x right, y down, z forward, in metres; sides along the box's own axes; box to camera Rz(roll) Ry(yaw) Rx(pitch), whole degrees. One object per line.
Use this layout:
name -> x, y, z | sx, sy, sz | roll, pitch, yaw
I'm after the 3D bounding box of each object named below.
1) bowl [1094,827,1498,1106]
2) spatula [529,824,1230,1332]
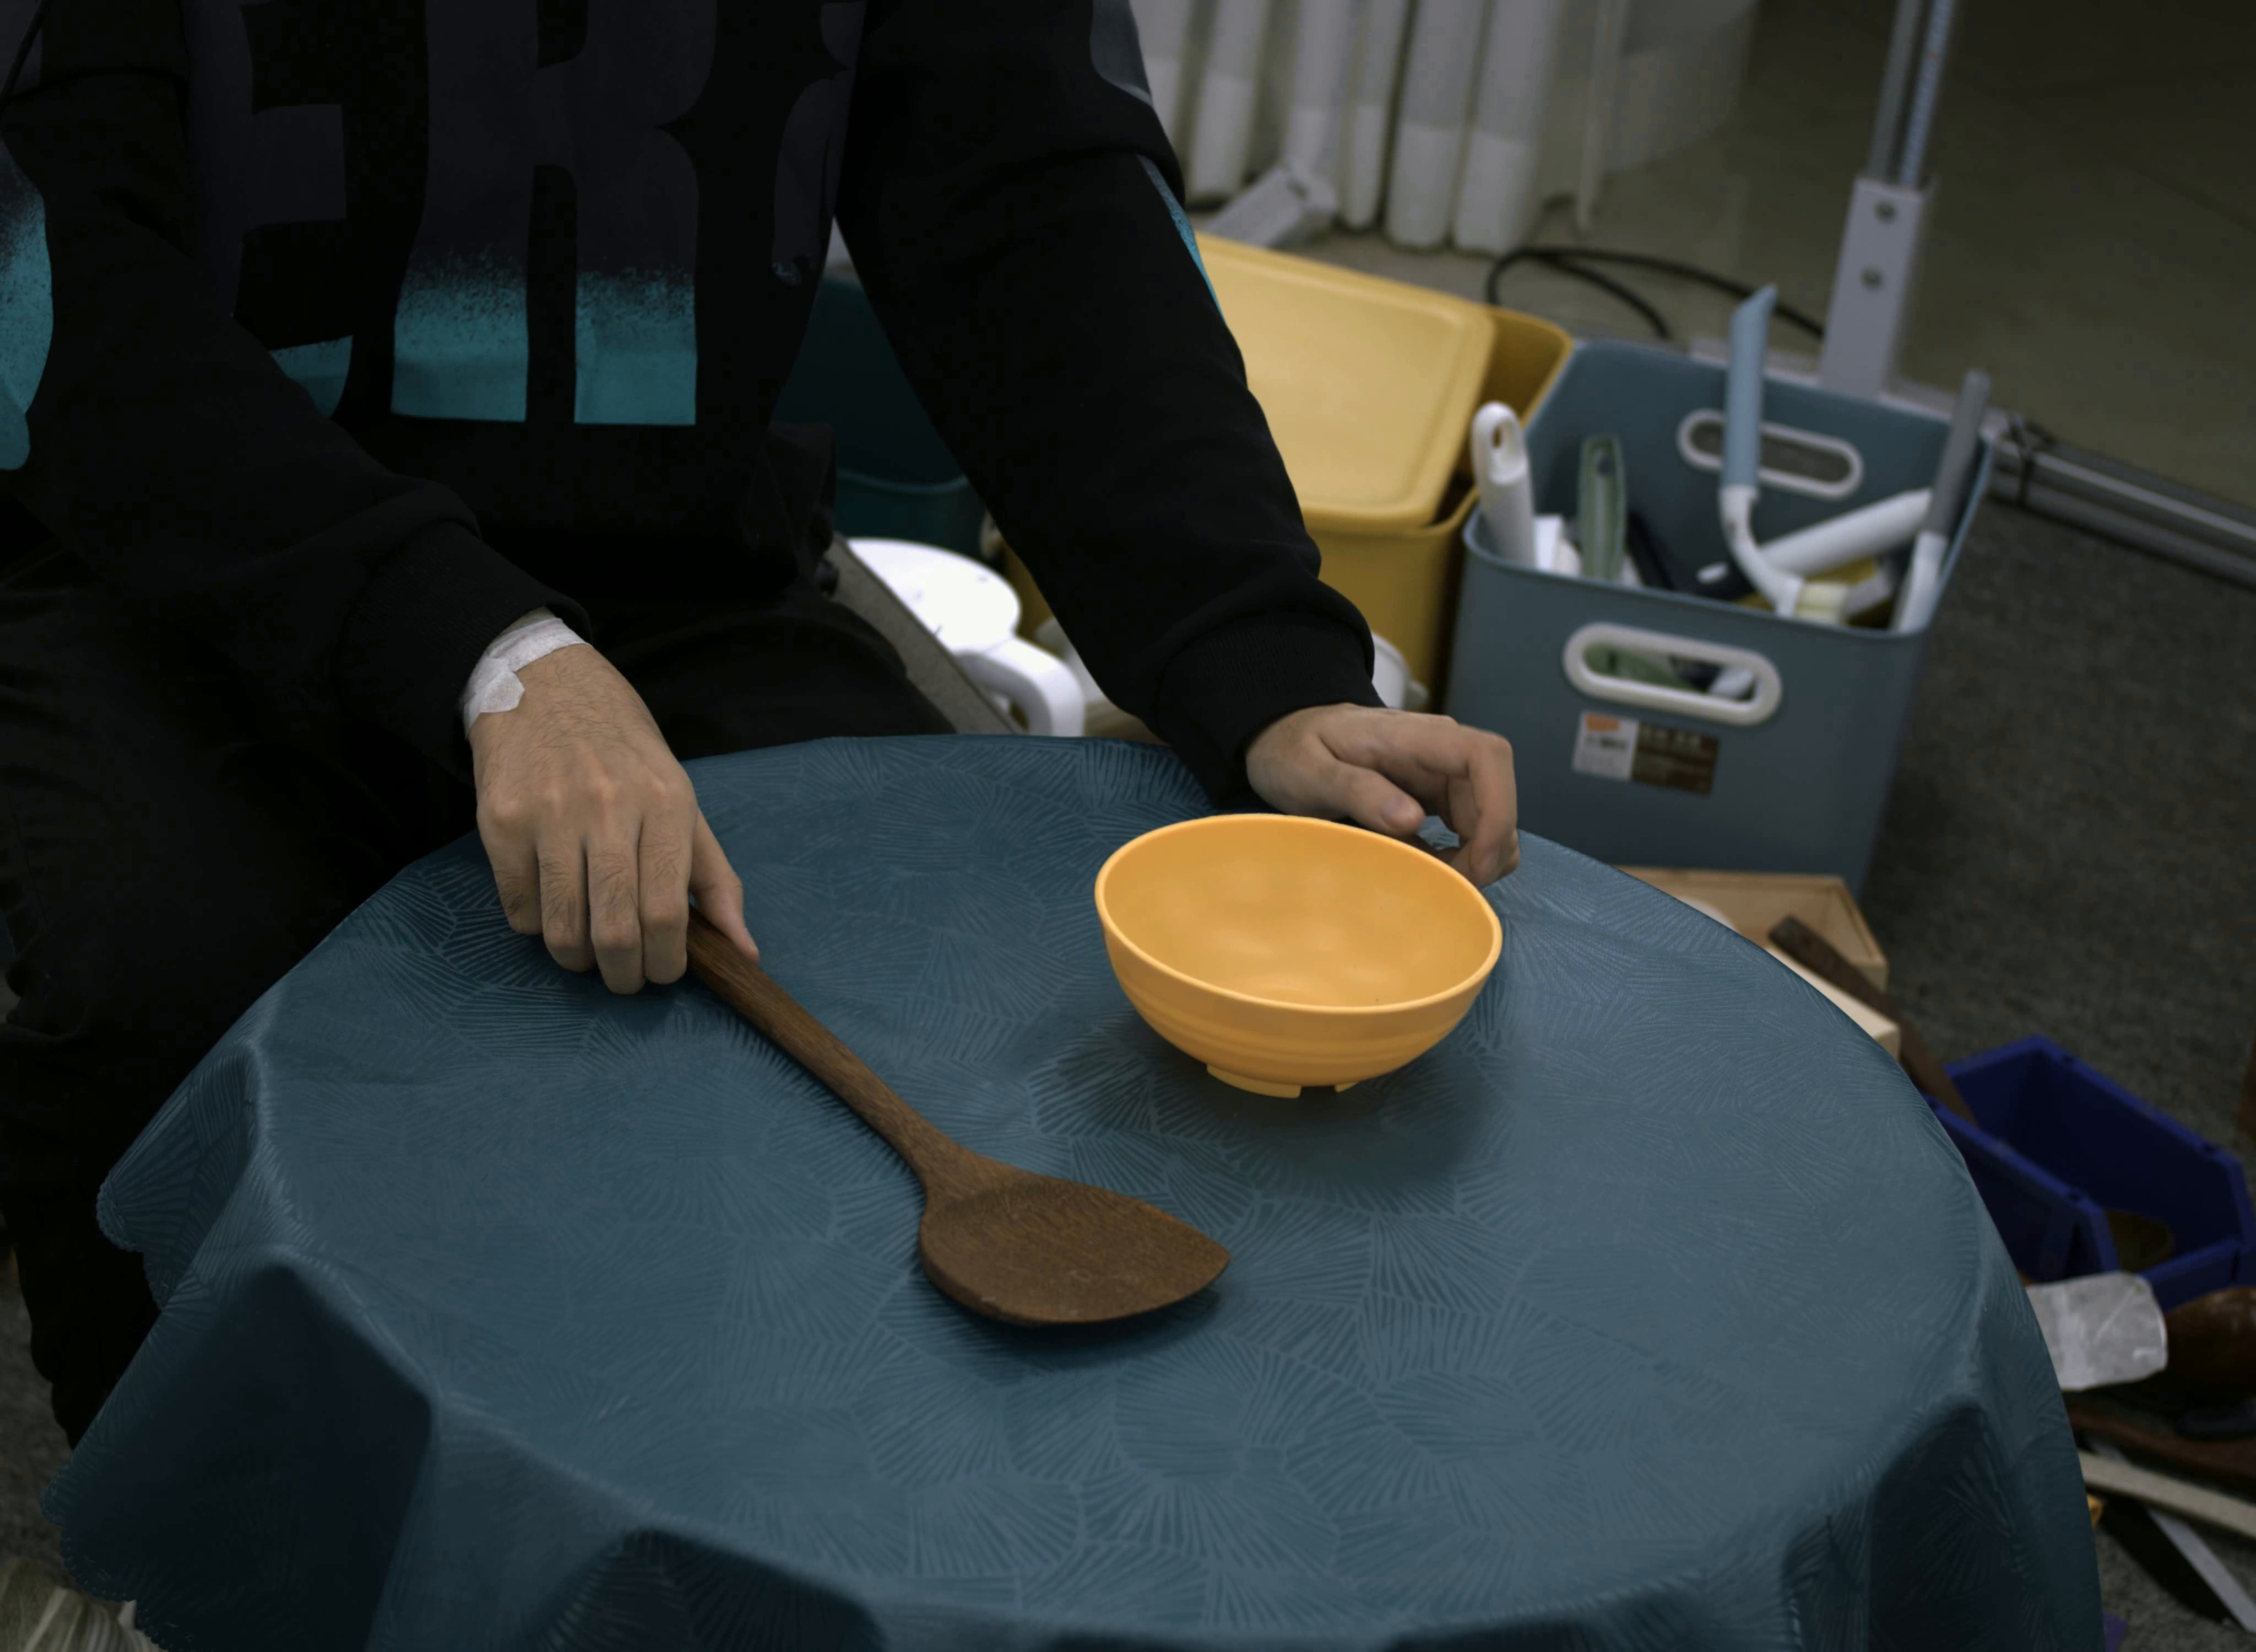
bowl -> 0.055, 0.058, 1.883 | 0.145, 0.060, 0.146 | 7, 24, -3
spatula -> -0.107, 0.079, 1.848 | 0.095, 0.016, 0.389 | -12, 32, -34
